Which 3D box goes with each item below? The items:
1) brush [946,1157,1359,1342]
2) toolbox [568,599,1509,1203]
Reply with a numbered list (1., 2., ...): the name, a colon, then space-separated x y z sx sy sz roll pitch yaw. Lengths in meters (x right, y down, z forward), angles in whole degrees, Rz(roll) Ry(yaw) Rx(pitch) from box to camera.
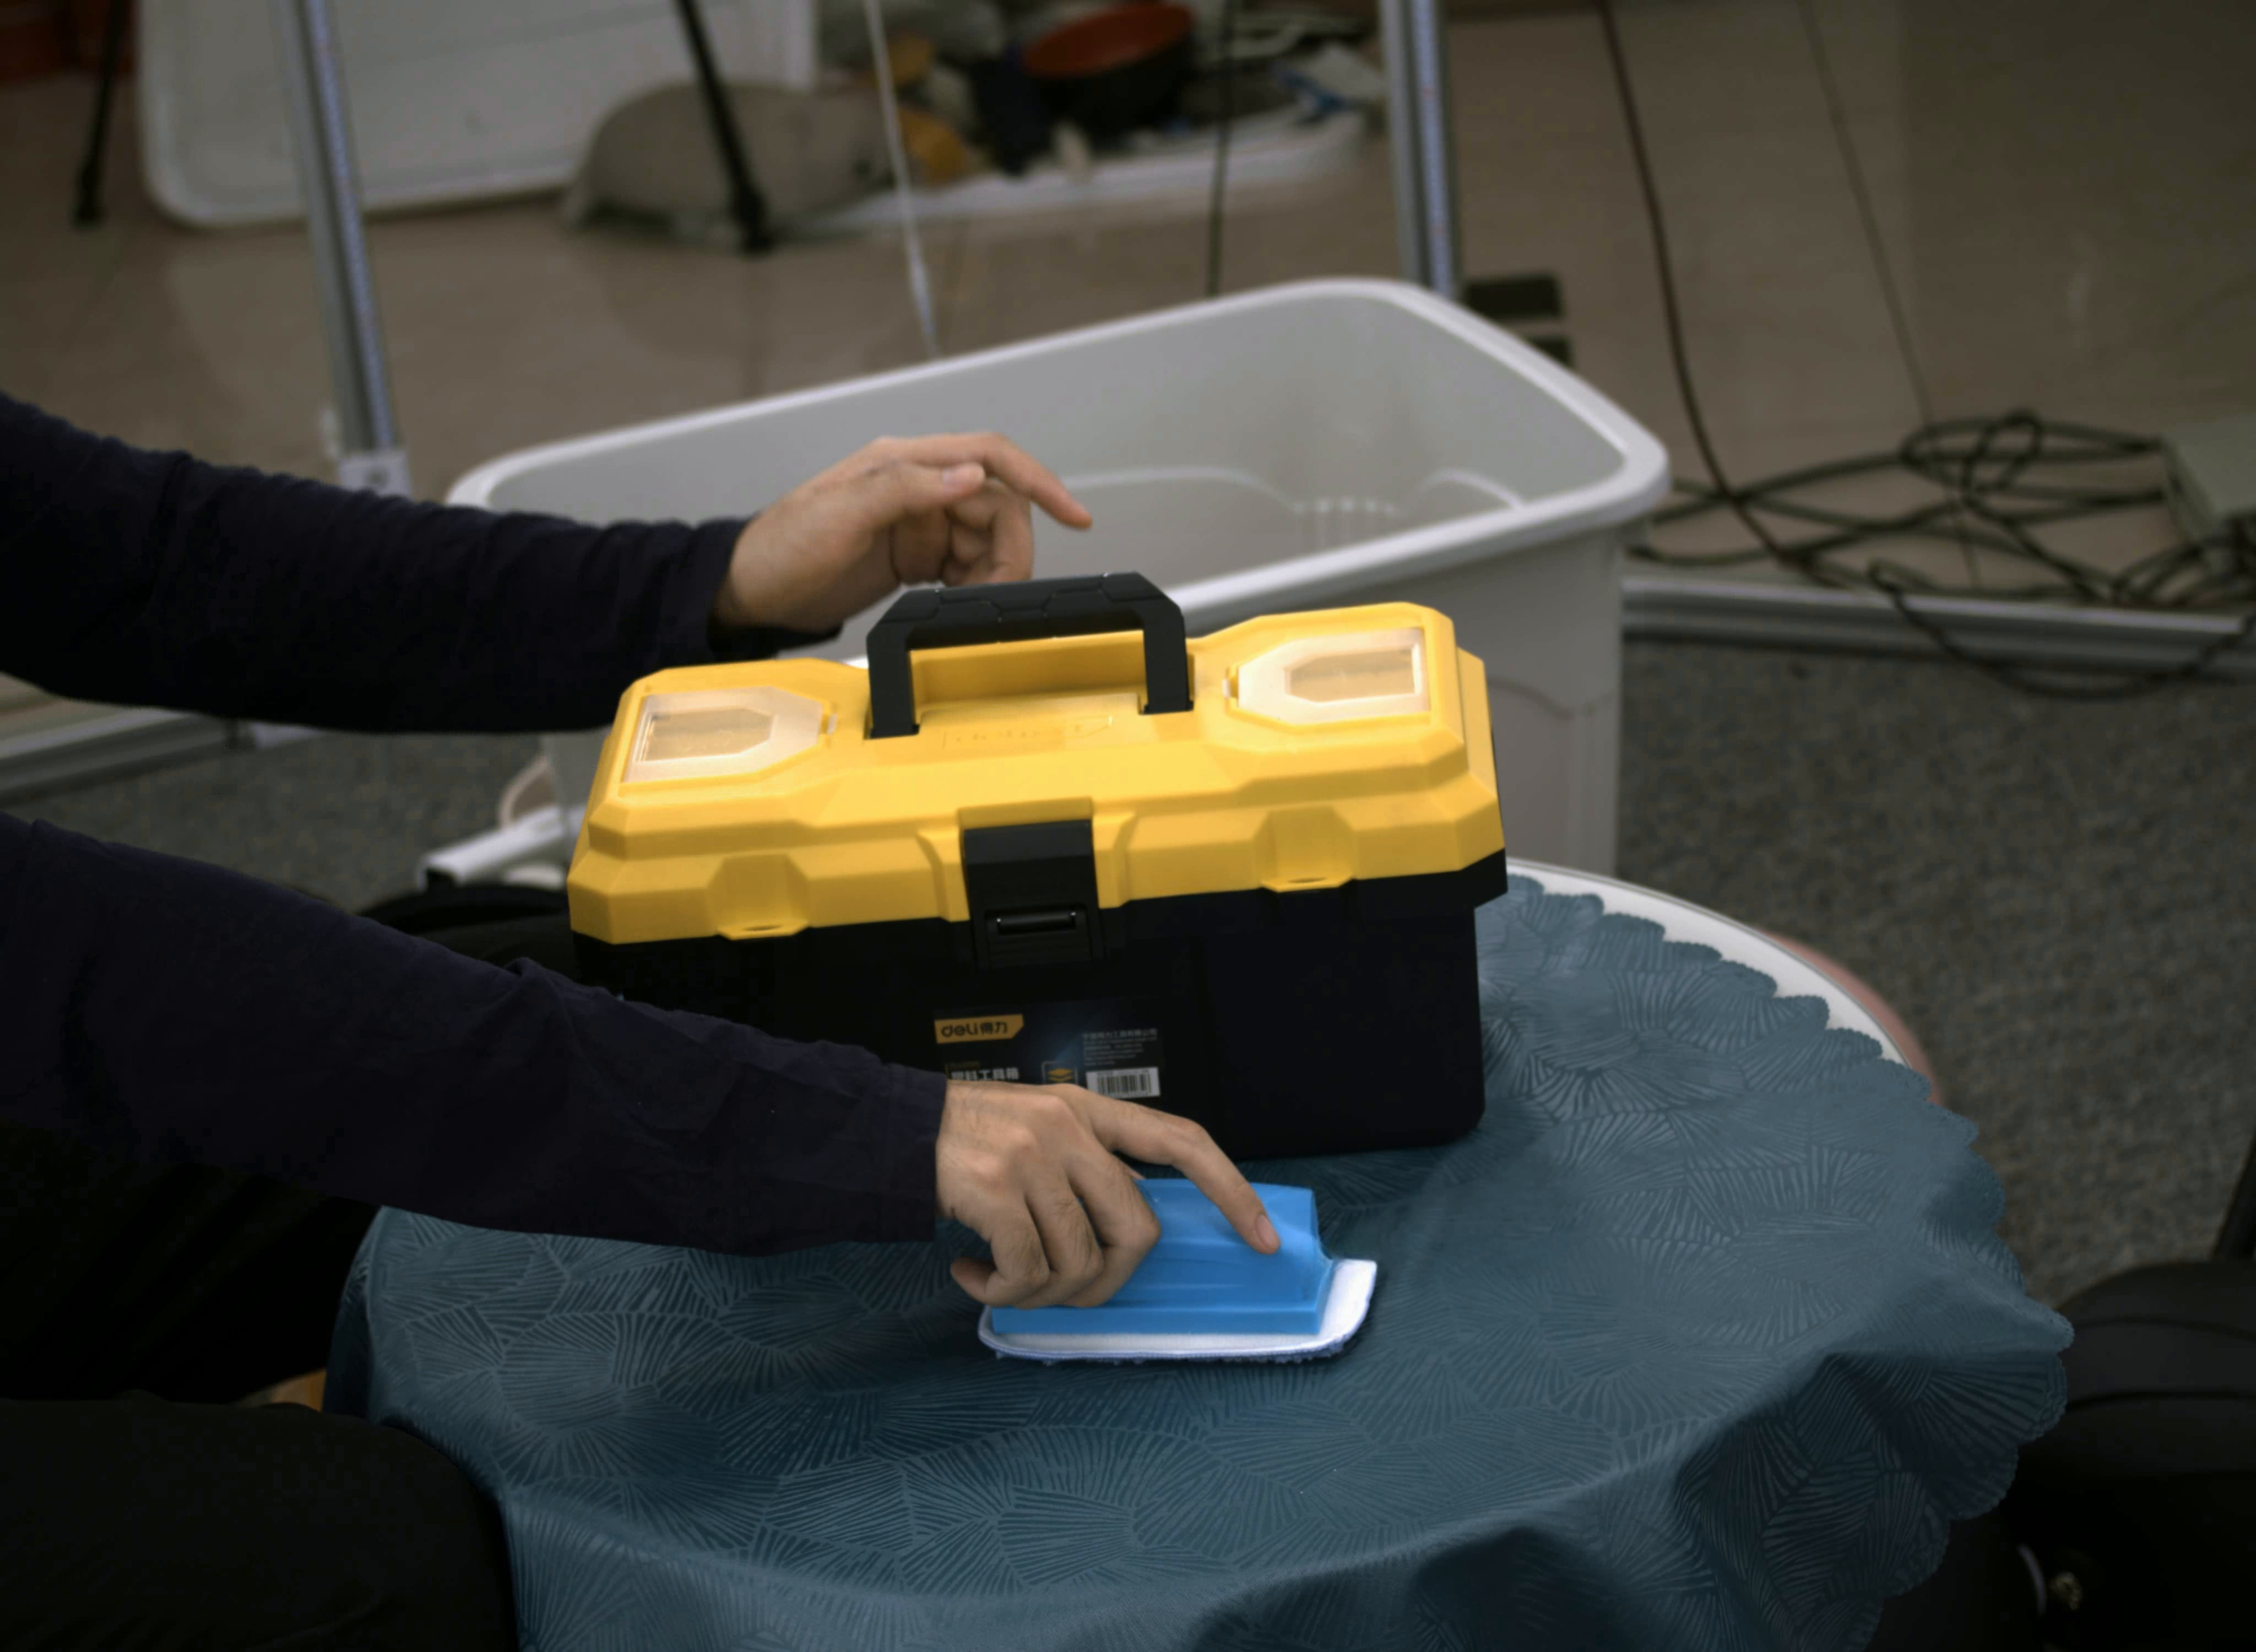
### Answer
1. brush: 0.009 0.151 2.045 0.143 0.057 0.083 2 24 13
2. toolbox: -0.029 0.031 2.178 0.351 0.175 0.178 -5 25 3
